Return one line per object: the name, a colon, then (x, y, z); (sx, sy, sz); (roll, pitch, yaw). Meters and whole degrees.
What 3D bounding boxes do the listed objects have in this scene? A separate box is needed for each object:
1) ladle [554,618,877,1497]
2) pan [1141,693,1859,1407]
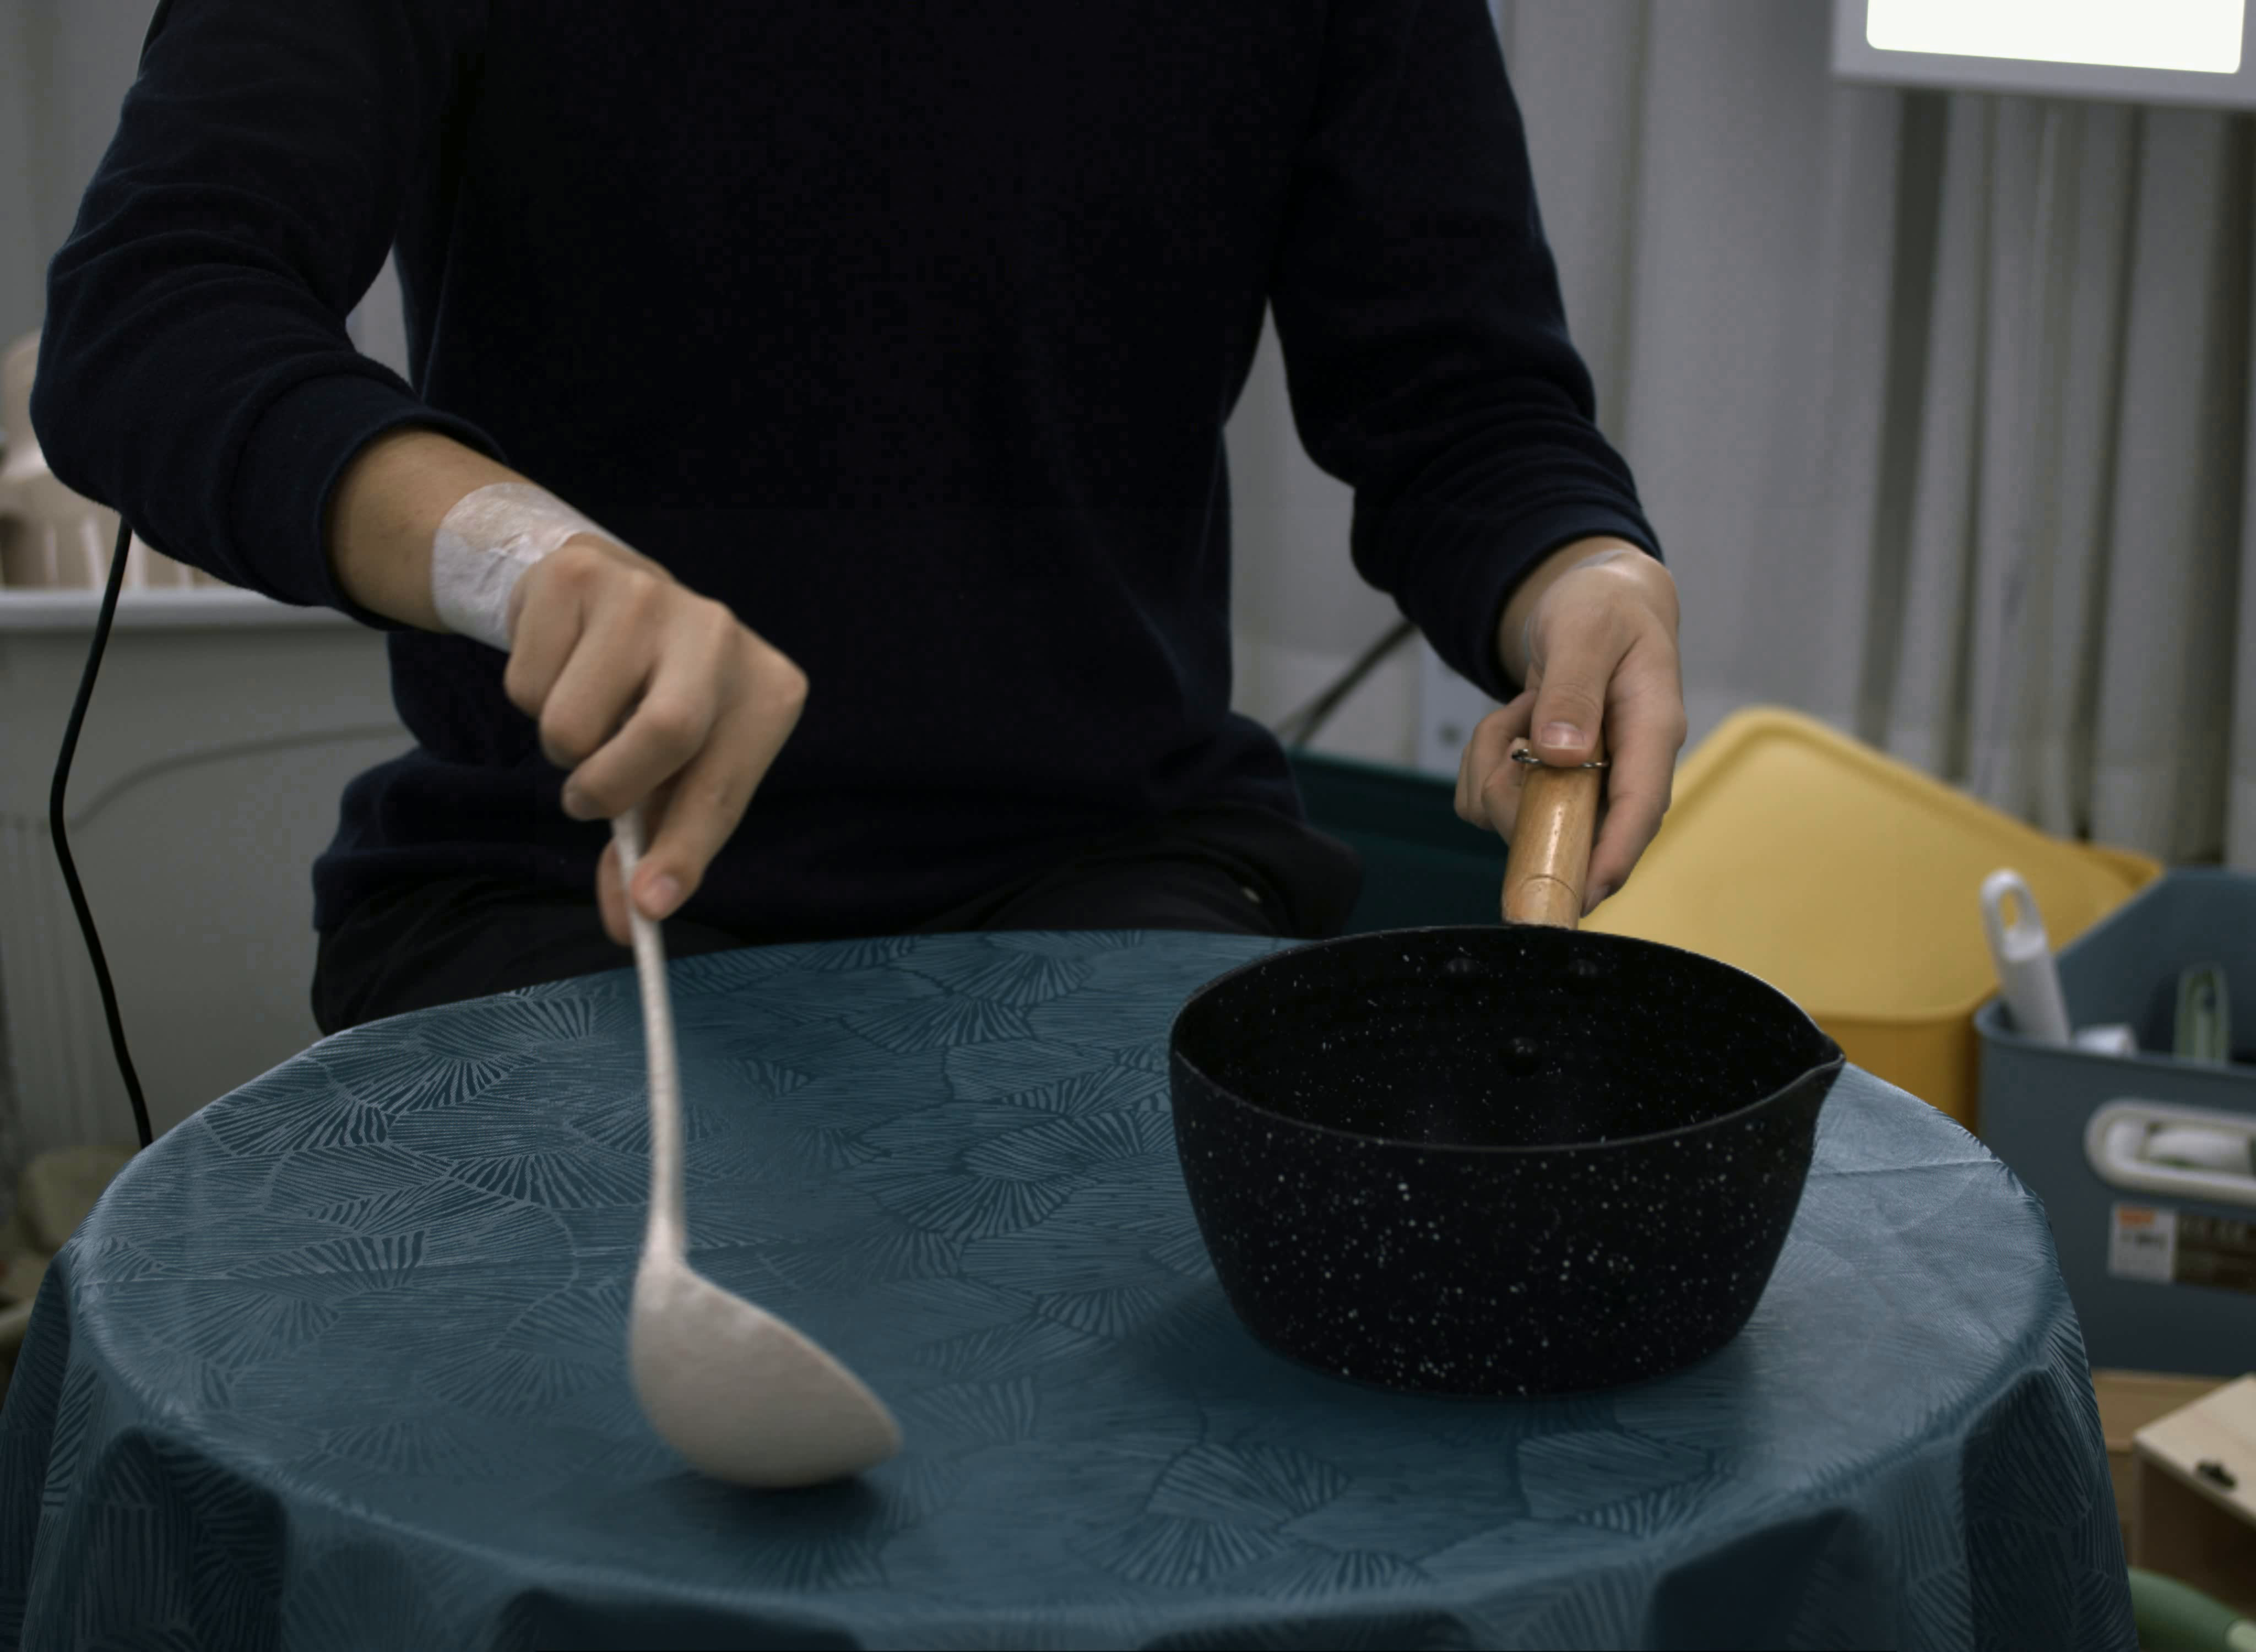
ladle: (-0.114, 0.053, 1.428); (0.069, 0.090, 0.272); (-11, 59, 7)
pan: (0.116, 0.062, 1.583); (0.206, 0.109, 0.341); (2, 20, 8)
